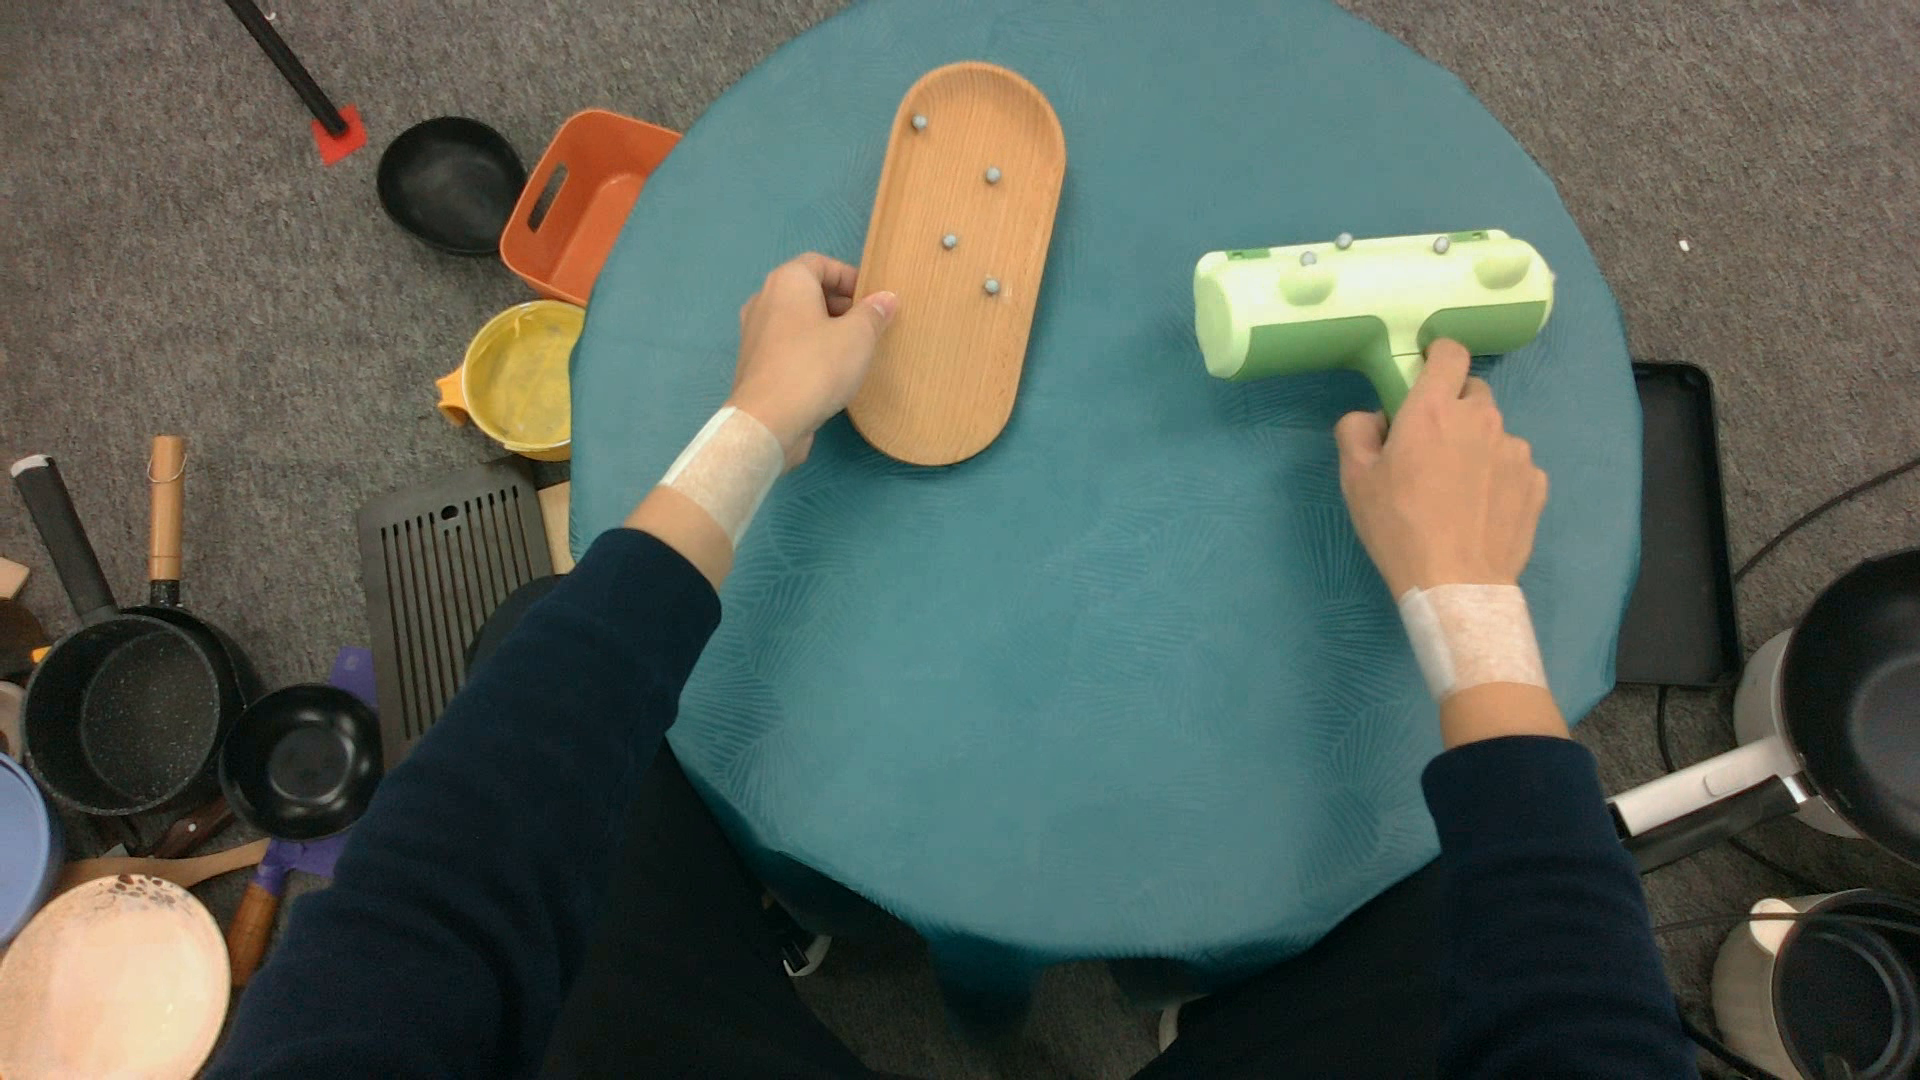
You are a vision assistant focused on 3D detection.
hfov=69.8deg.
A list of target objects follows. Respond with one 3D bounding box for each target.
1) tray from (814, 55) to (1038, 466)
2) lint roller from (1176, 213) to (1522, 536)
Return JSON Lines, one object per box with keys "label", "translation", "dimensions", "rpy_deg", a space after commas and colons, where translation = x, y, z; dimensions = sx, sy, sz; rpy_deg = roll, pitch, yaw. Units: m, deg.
{"label": "tray", "translation": [-0.018, -0.154, 0.760], "dimensions": [0.102, 0.020, 0.231], "rpy_deg": [12, 85, -12]}
{"label": "lint roller", "translation": [0.228, -0.094, 0.698], "dimensions": [0.199, 0.082, 0.184], "rpy_deg": [-10, 58, -22]}
